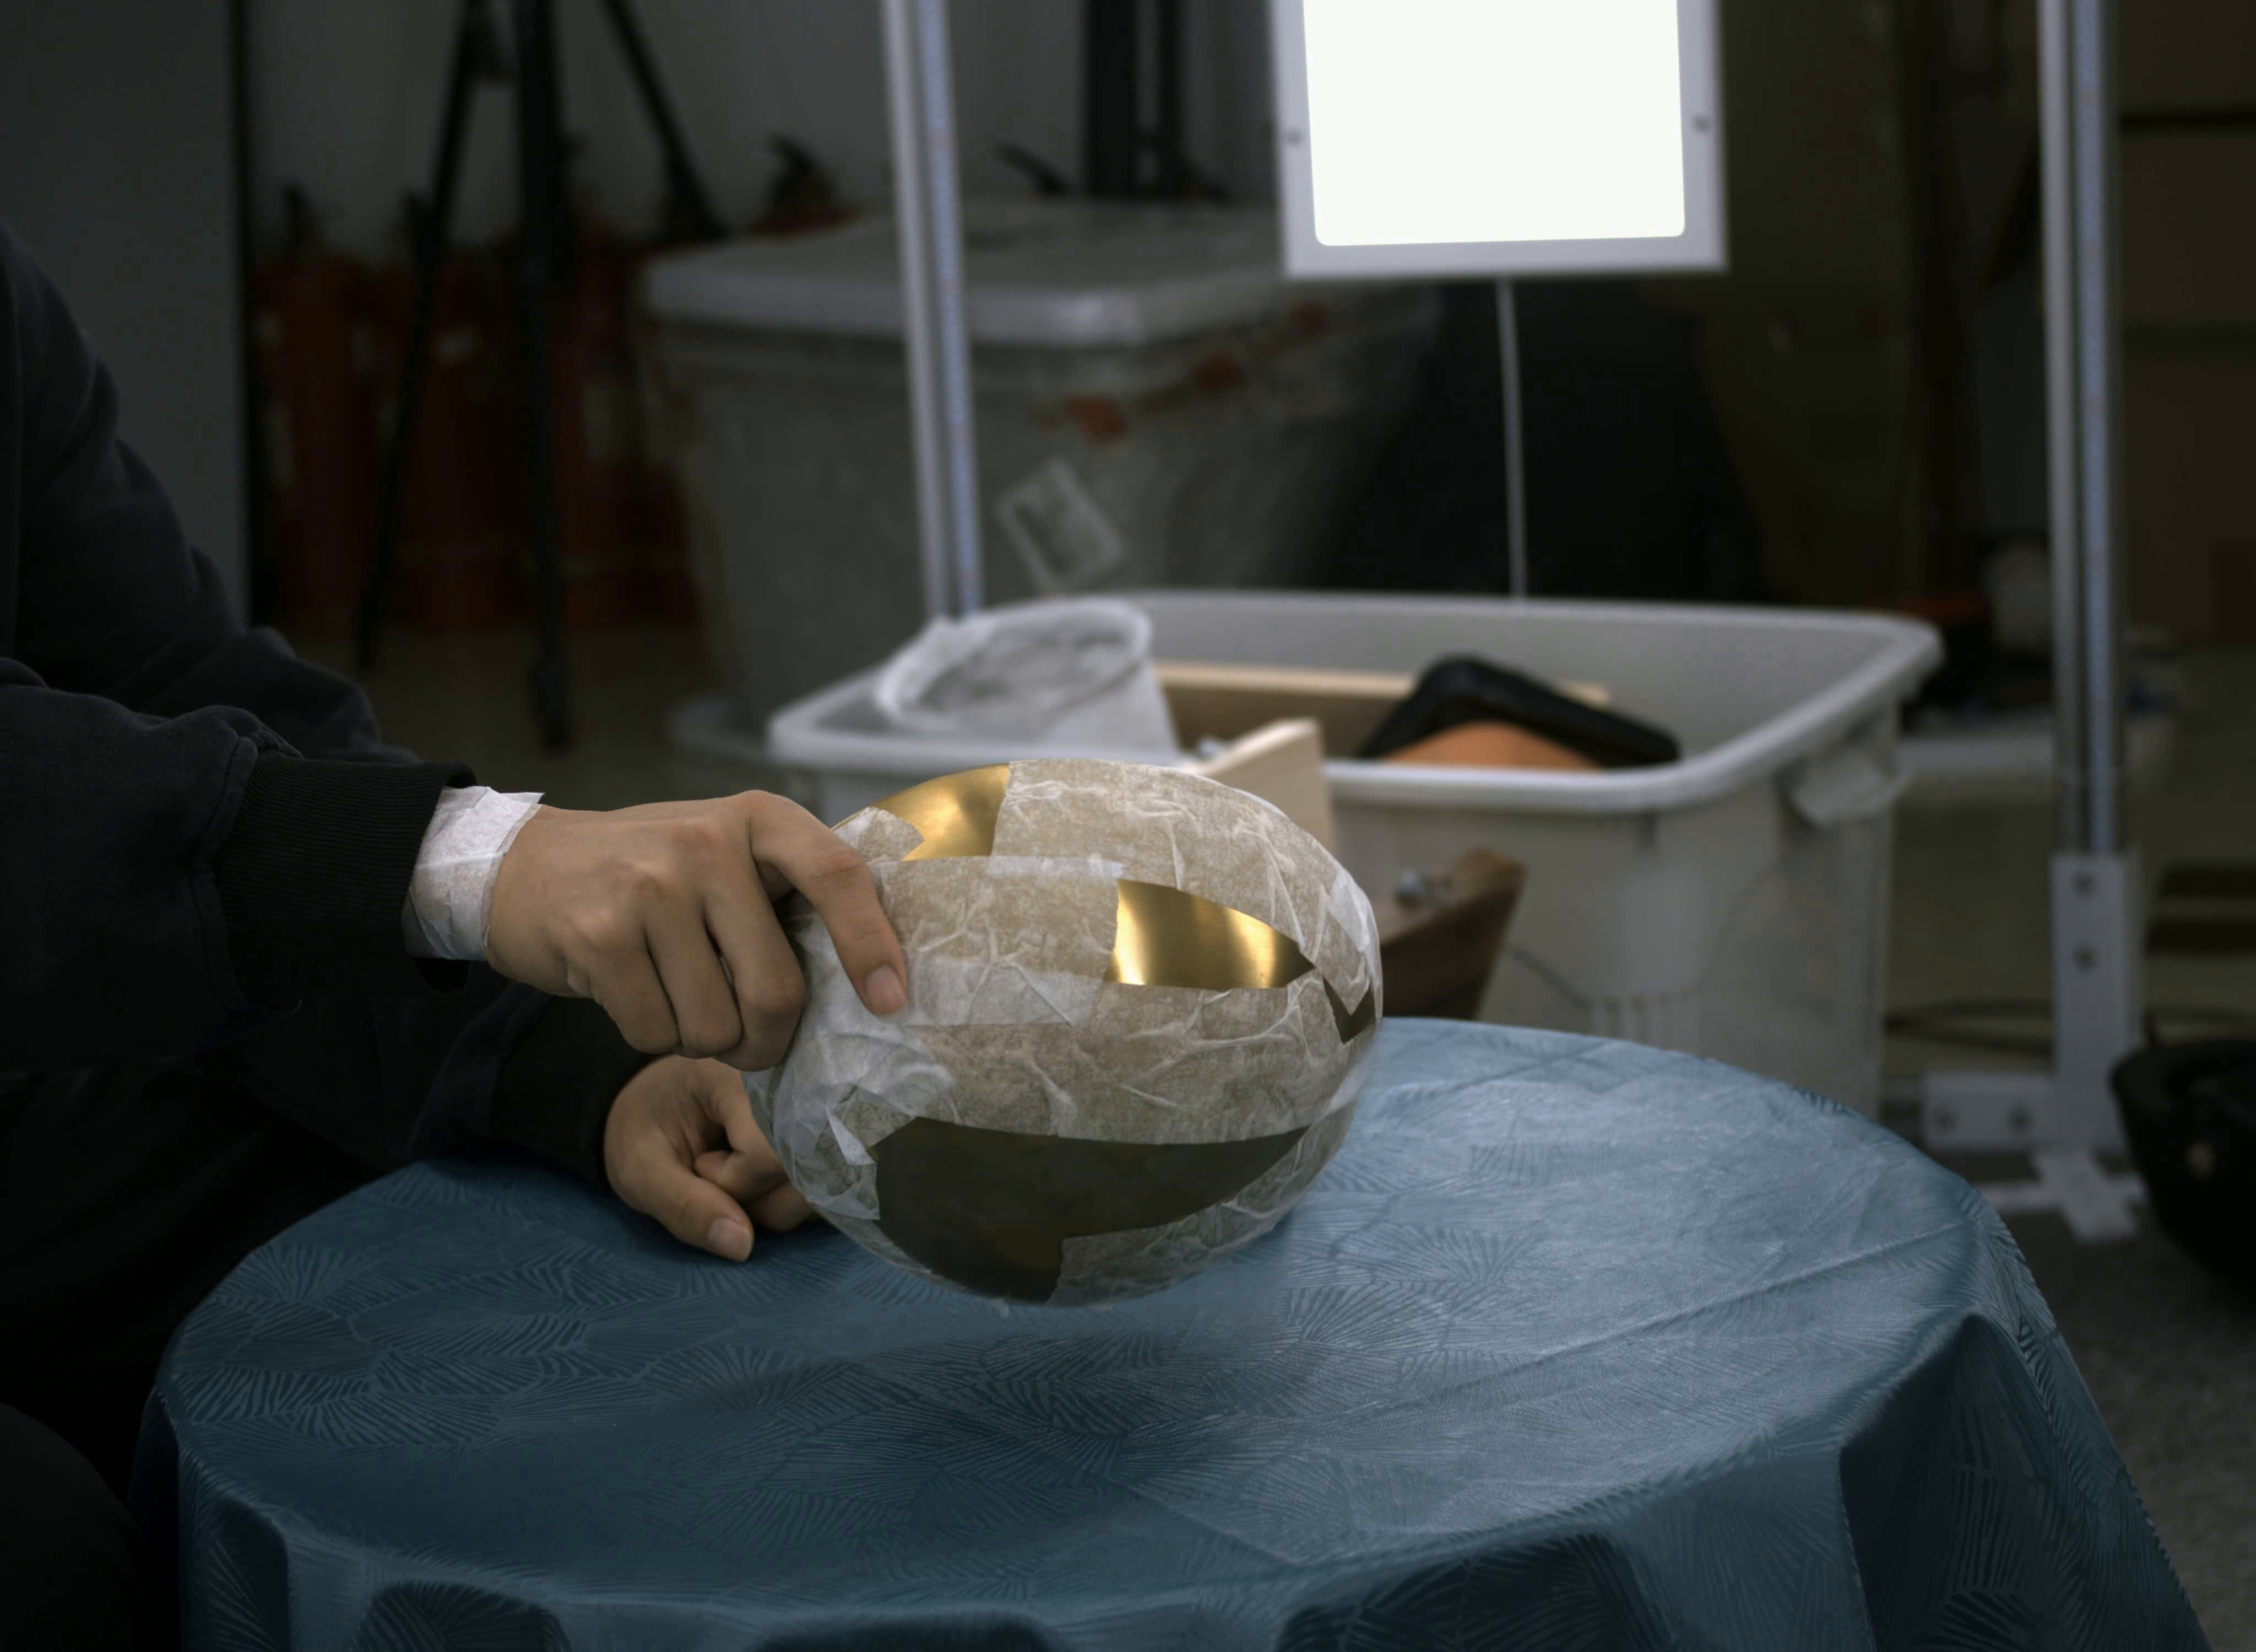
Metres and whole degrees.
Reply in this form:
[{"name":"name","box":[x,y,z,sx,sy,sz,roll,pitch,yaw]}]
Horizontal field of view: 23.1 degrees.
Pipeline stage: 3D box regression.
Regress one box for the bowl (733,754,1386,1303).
[{"name":"bowl","box":[-0.020,0.082,1.665,0.214,0.215,0.094,-3,48,1]}]

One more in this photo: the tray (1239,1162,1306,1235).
[{"name":"tray","box":[-0.004,0.108,1.942,0.100,0.020,0.233,-10,16,-10]}]
